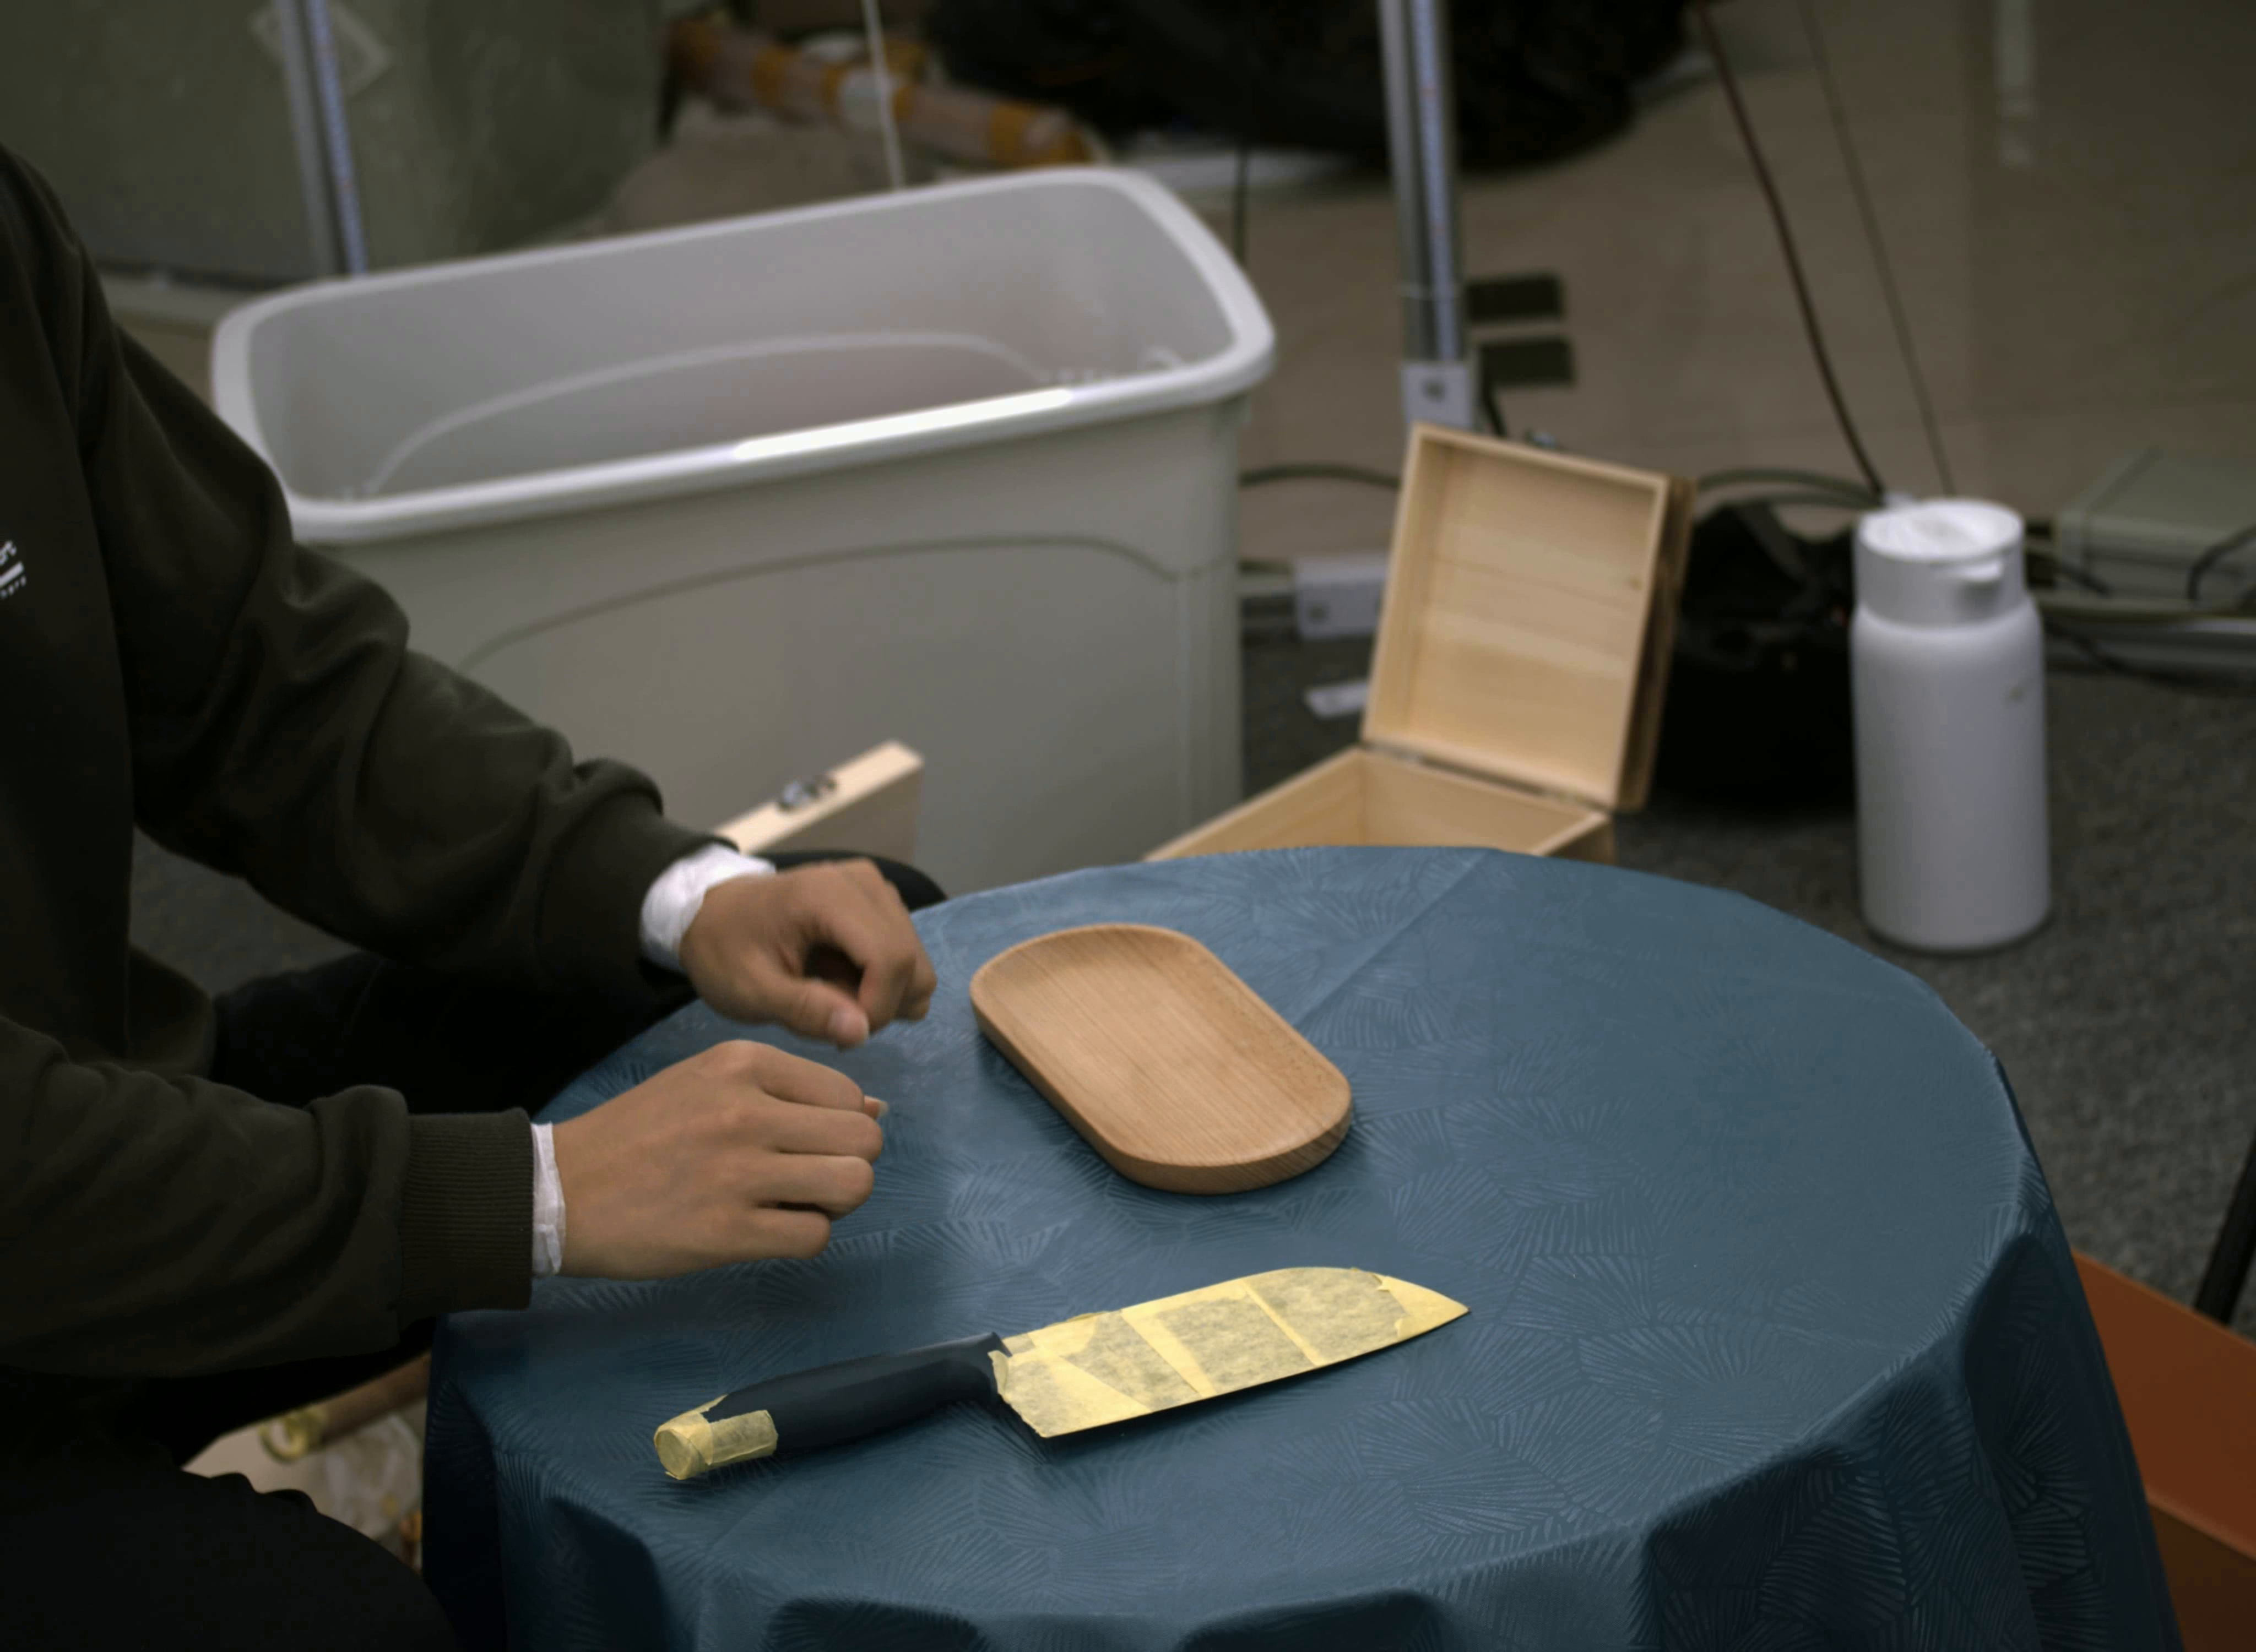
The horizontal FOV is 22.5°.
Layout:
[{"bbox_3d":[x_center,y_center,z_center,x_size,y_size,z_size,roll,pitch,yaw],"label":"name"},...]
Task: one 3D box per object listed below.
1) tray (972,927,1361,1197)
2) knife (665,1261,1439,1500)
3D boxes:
[{"bbox_3d":[0.013,0.091,2.232,0.101,0.020,0.228,-17,28,-18],"label":"tray"},{"bbox_3d":[-0.022,0.197,2.015,0.288,0.027,0.080,-13,24,-16],"label":"knife"}]
